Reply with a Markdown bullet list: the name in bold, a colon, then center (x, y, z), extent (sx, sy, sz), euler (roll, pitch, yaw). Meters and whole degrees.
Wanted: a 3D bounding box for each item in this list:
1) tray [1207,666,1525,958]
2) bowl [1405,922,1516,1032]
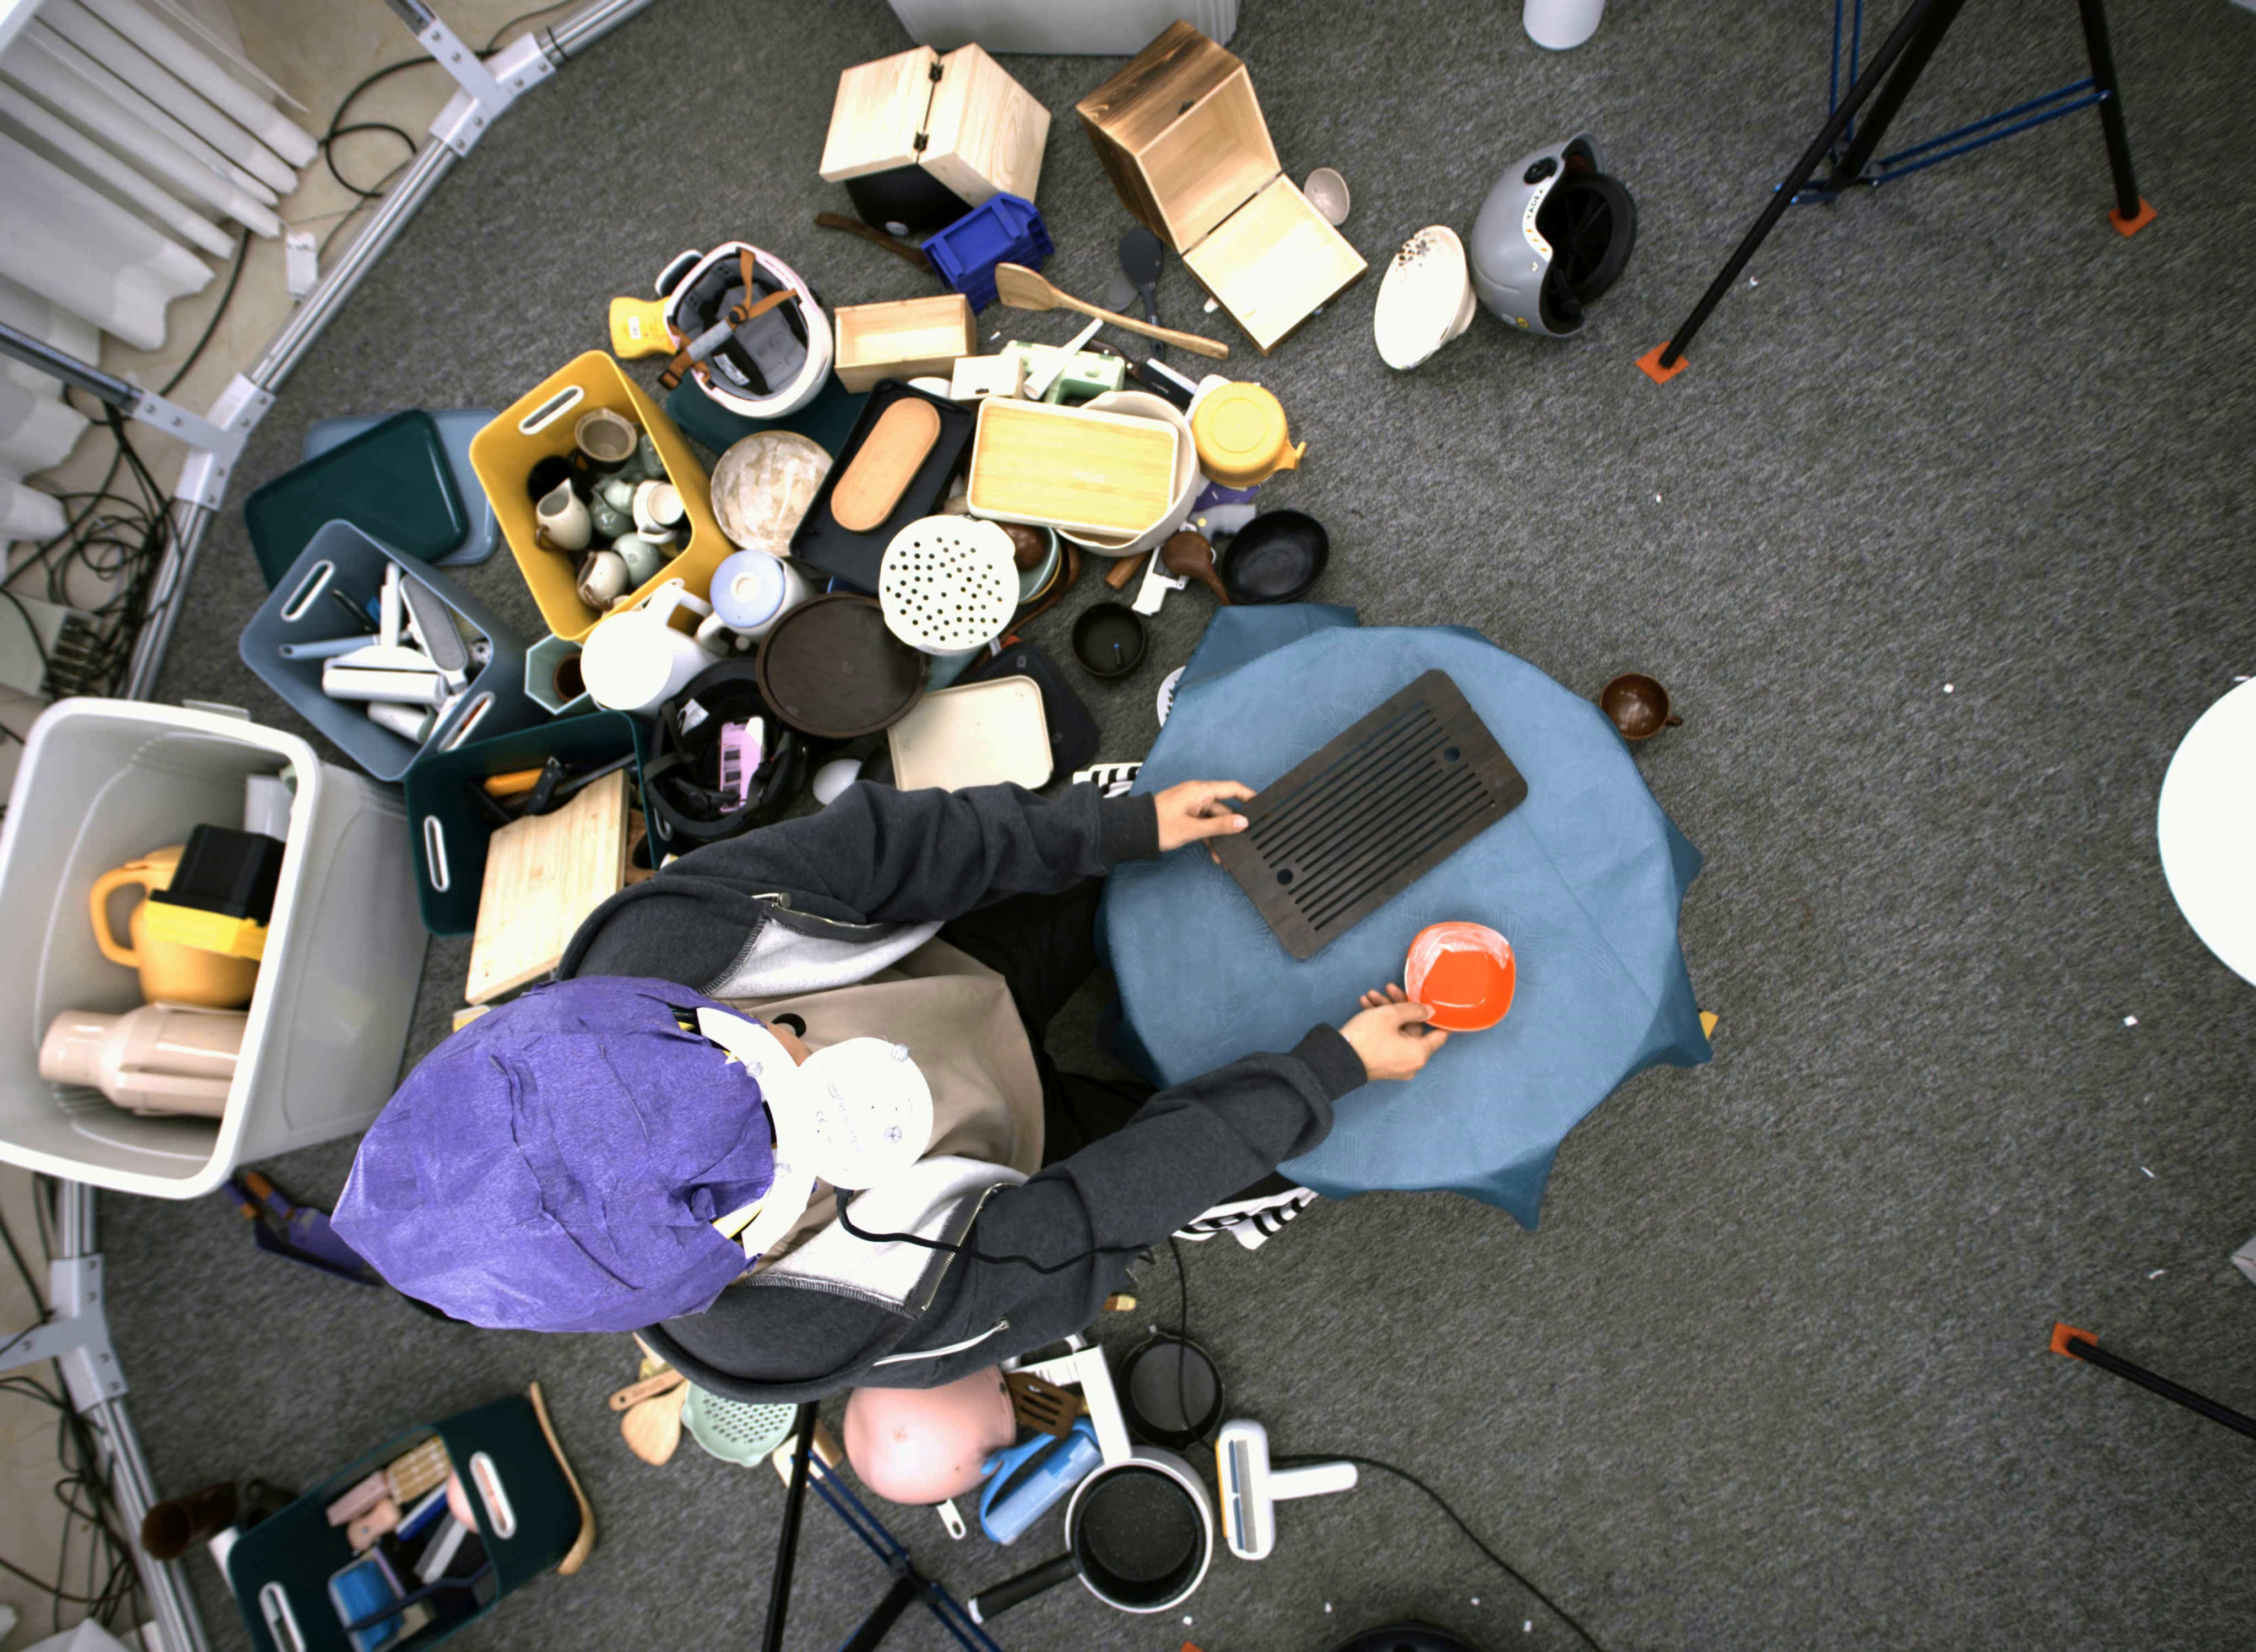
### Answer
- **tray**: center (0.248, -0.015, 1.443), extent (0.307, 0.018, 0.170), euler (-36, 92, 6)
- **bowl**: center (0.339, 0.152, 1.414), extent (0.119, 0.051, 0.118), euler (-1, 87, 9)
